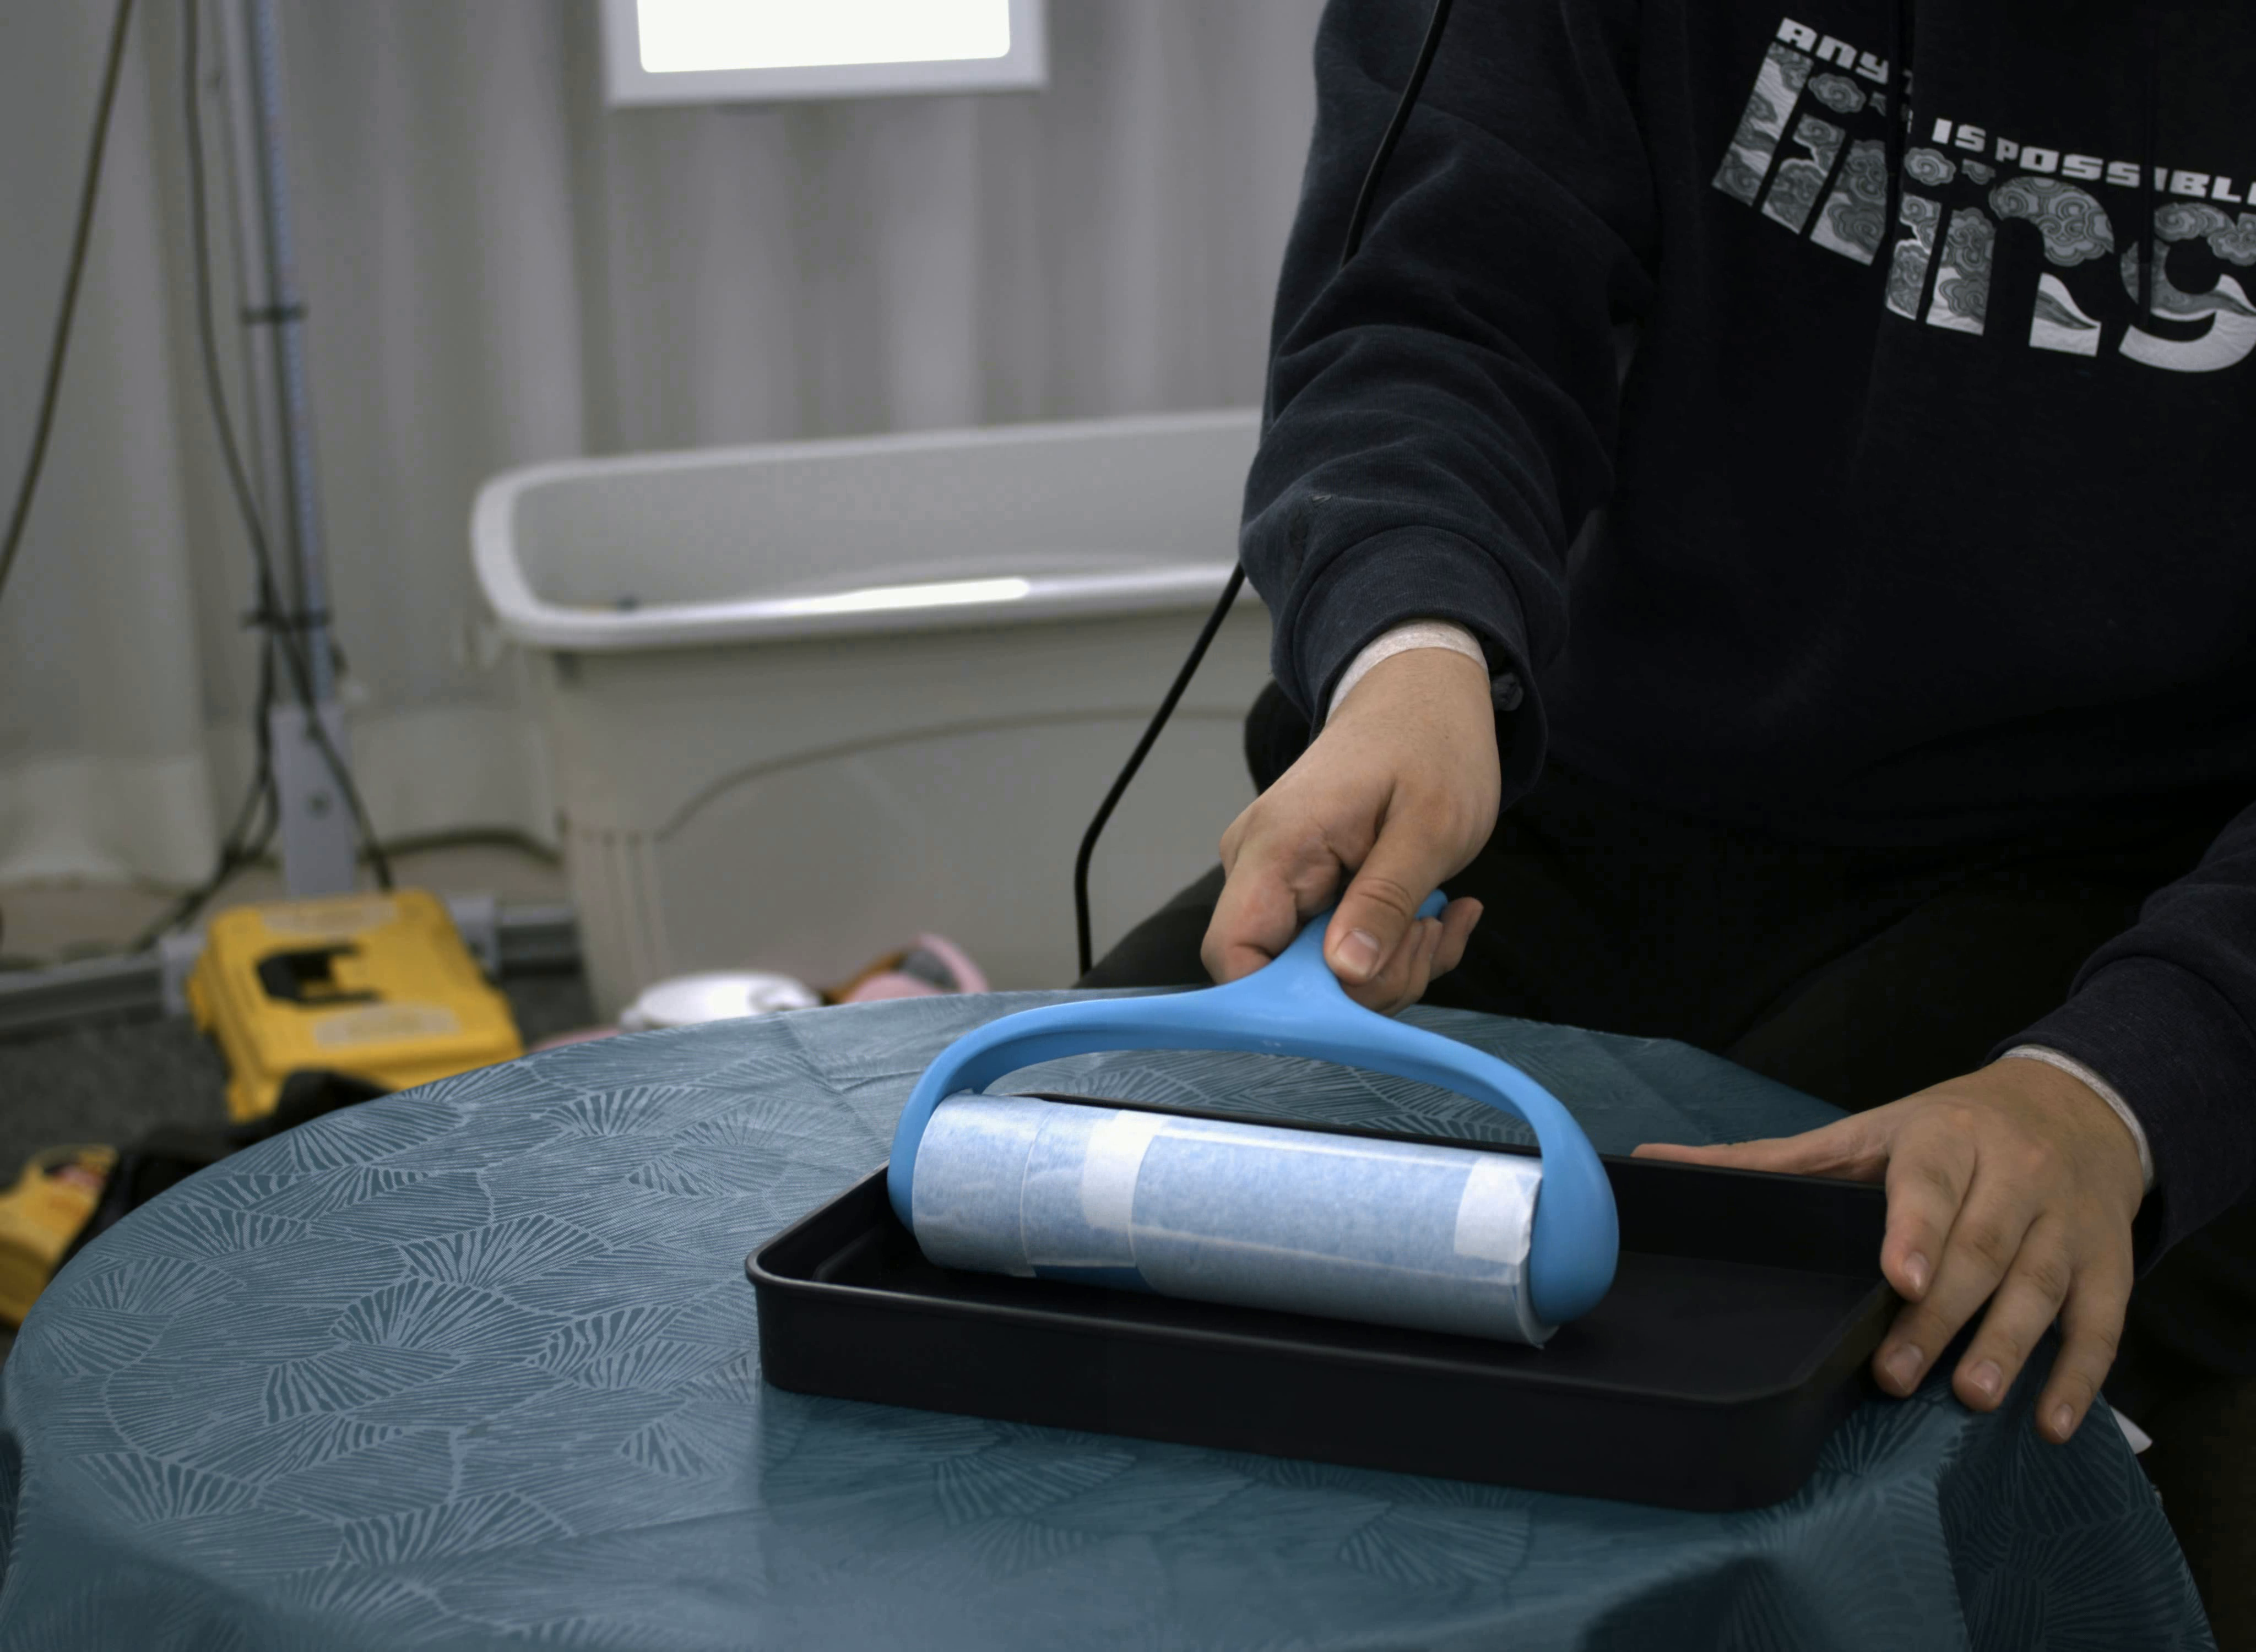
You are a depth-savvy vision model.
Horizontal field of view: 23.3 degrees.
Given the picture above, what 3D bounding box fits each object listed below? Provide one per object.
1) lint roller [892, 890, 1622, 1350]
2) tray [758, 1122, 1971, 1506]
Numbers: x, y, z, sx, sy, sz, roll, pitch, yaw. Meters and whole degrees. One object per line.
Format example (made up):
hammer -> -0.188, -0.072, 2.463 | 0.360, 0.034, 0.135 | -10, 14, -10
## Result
lint roller -> 0.053, 0.070, 1.630 | 0.229, 0.067, 0.182 | 2, 47, 25
tray -> 0.069, 0.136, 1.569 | 0.318, 0.037, 0.184 | 2, 15, 25
